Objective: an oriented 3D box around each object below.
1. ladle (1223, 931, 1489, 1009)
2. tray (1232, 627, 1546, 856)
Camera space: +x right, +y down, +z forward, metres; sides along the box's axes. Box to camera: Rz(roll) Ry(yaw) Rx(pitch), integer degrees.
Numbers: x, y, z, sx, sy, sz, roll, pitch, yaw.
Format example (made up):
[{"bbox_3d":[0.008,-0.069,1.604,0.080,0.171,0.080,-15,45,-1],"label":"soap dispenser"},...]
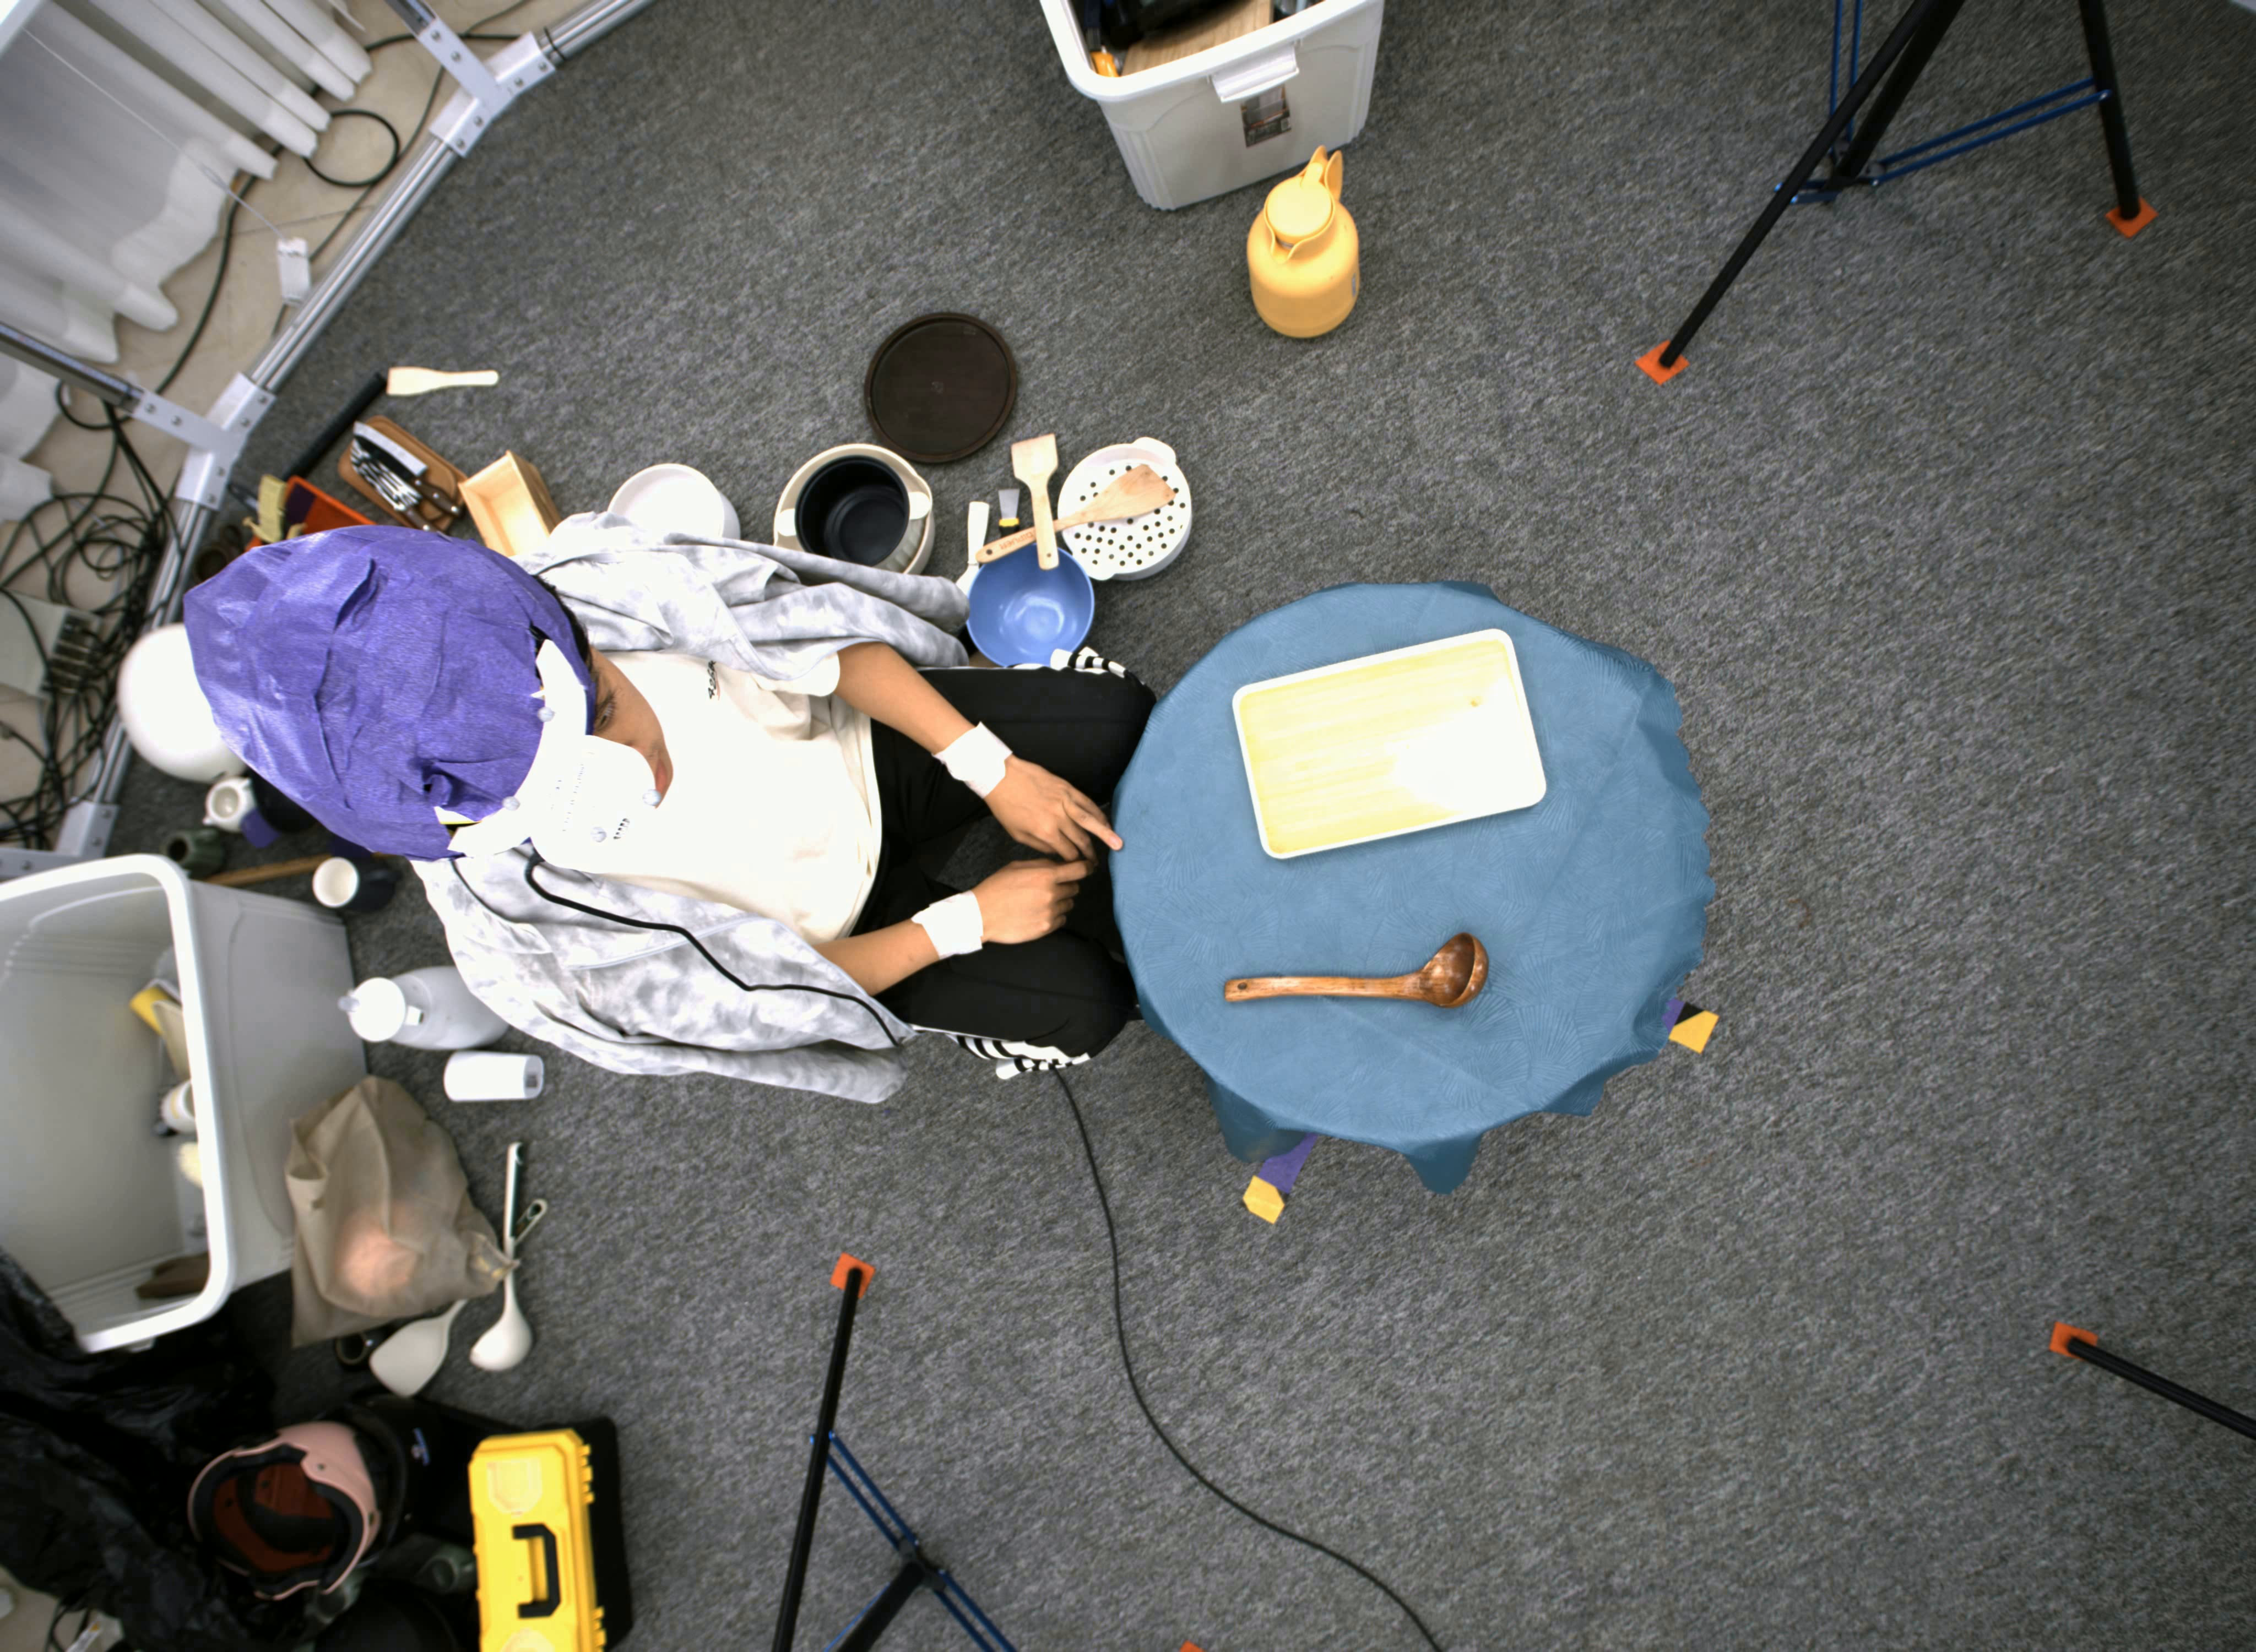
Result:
[{"bbox_3d":[0.231,0.148,1.426,0.275,0.078,0.079,0,44,12],"label":"ladle"},{"bbox_3d":[0.272,-0.089,1.452,0.302,0.027,0.190,-12,85,10],"label":"tray"}]
